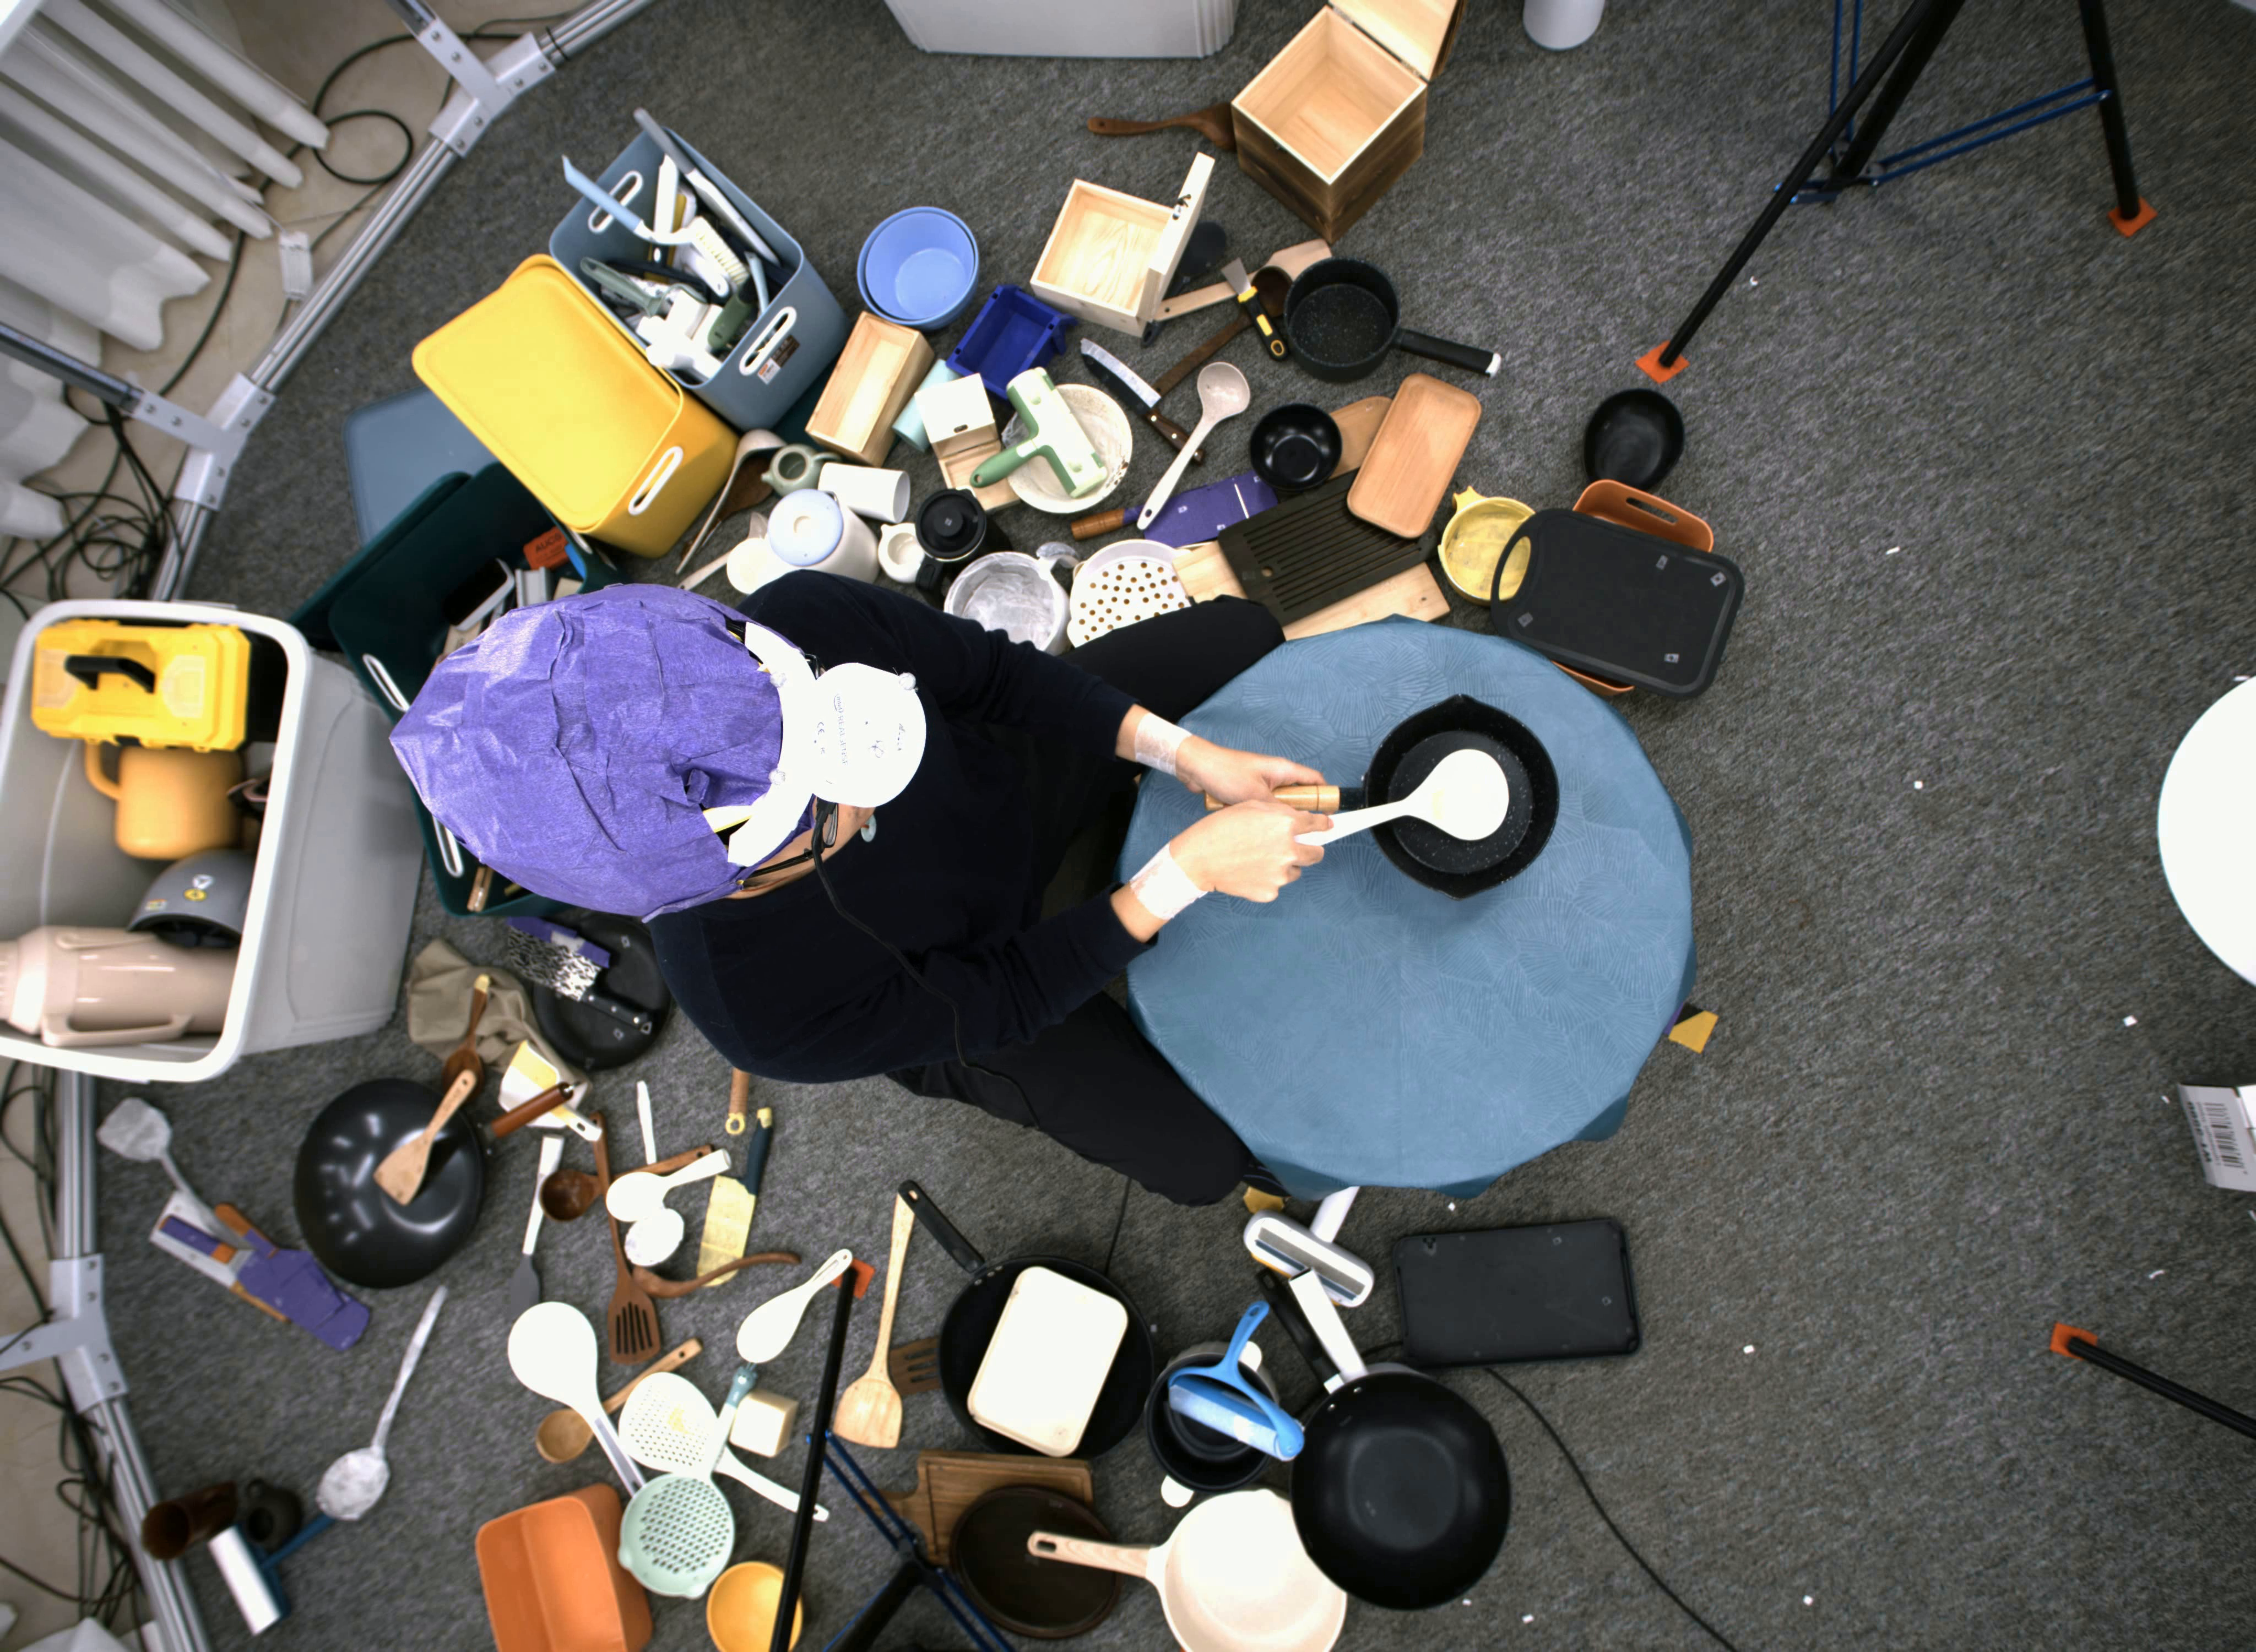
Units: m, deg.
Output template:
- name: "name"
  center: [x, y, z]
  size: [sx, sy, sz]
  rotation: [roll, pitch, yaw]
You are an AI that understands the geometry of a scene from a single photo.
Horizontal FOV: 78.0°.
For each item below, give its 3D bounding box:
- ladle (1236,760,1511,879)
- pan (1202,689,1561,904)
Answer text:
- name: "ladle"
  center: [0.239, 0.002, 1.316]
  size: [0.290, 0.070, 0.091]
  rotation: [-15, 106, -29]
- name: "pan"
  center: [0.249, -0.027, 1.365]
  size: [0.344, 0.108, 0.207]
  rotation: [-1, 91, 12]
